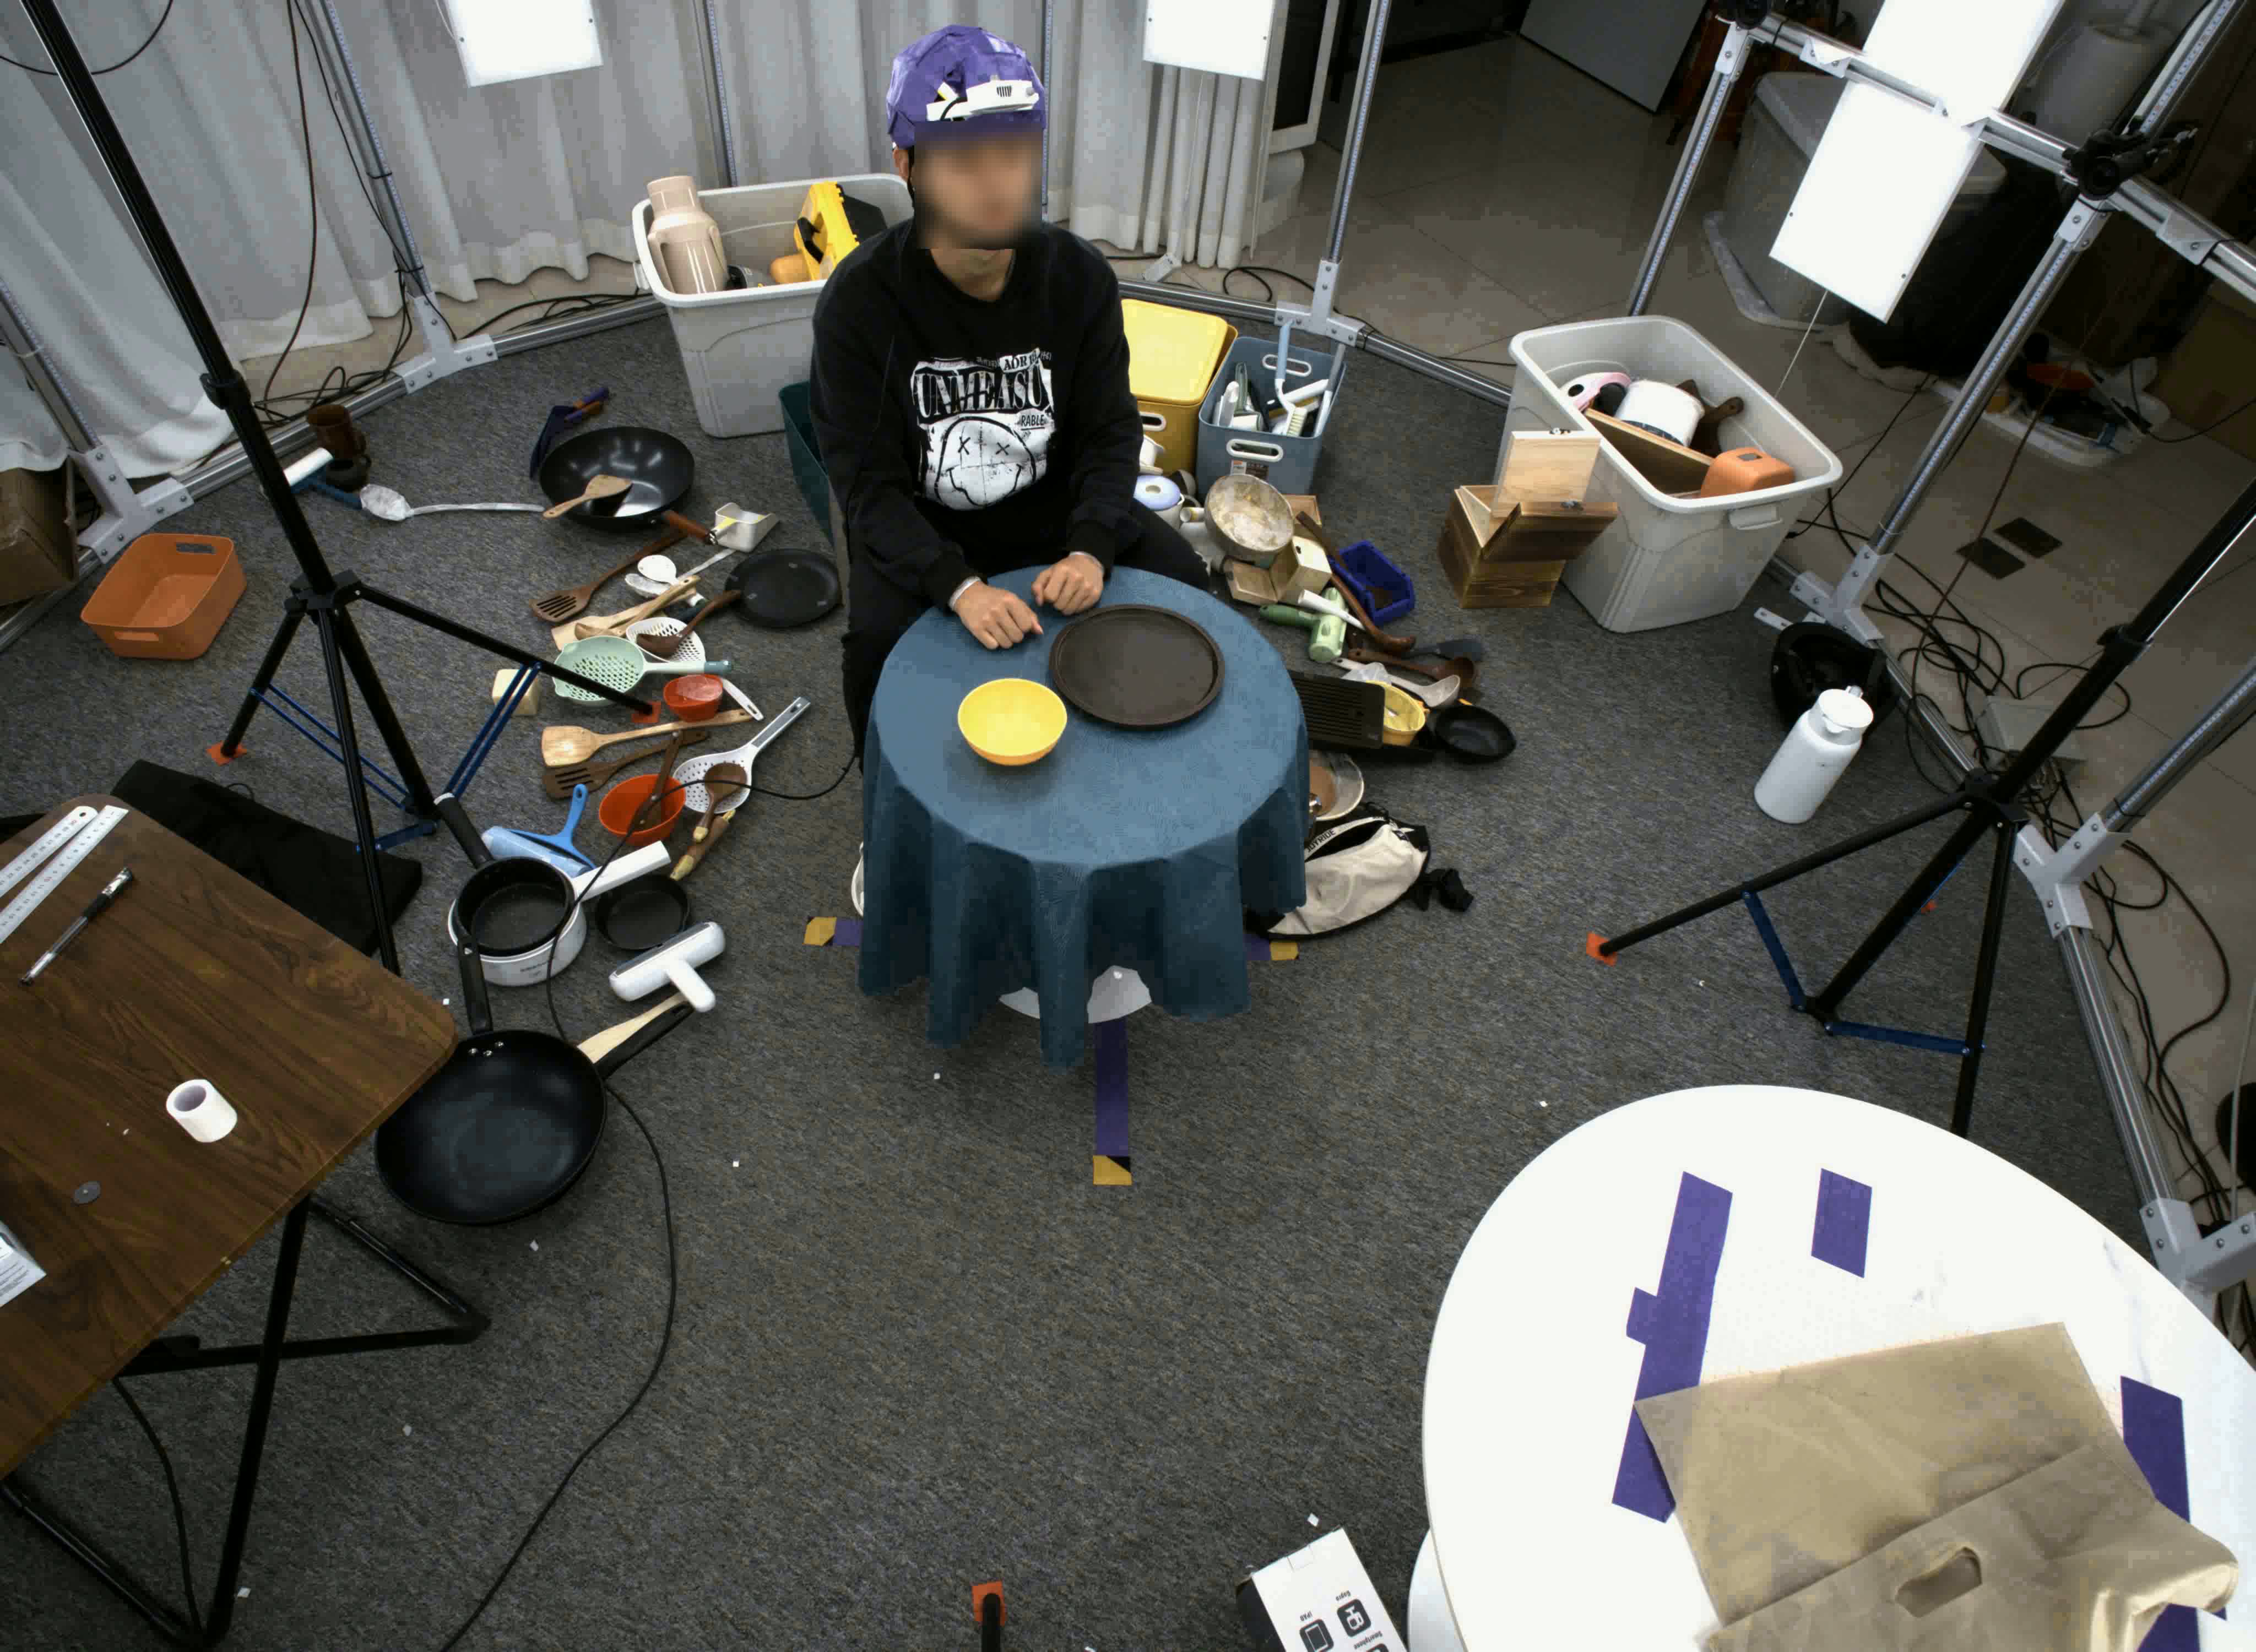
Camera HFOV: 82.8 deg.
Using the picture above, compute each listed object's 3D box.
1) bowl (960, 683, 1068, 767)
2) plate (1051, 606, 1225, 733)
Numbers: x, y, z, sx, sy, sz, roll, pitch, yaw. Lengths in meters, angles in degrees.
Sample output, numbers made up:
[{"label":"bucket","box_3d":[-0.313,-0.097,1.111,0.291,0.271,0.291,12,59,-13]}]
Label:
[{"label":"bowl","box_3d":[-0.155,-0.126,1.747,0.145,0.058,0.149,2,47,-2]},{"label":"plate","box_3d":[0.015,-0.230,1.871,0.254,0.028,0.261,1,49,-1]}]
